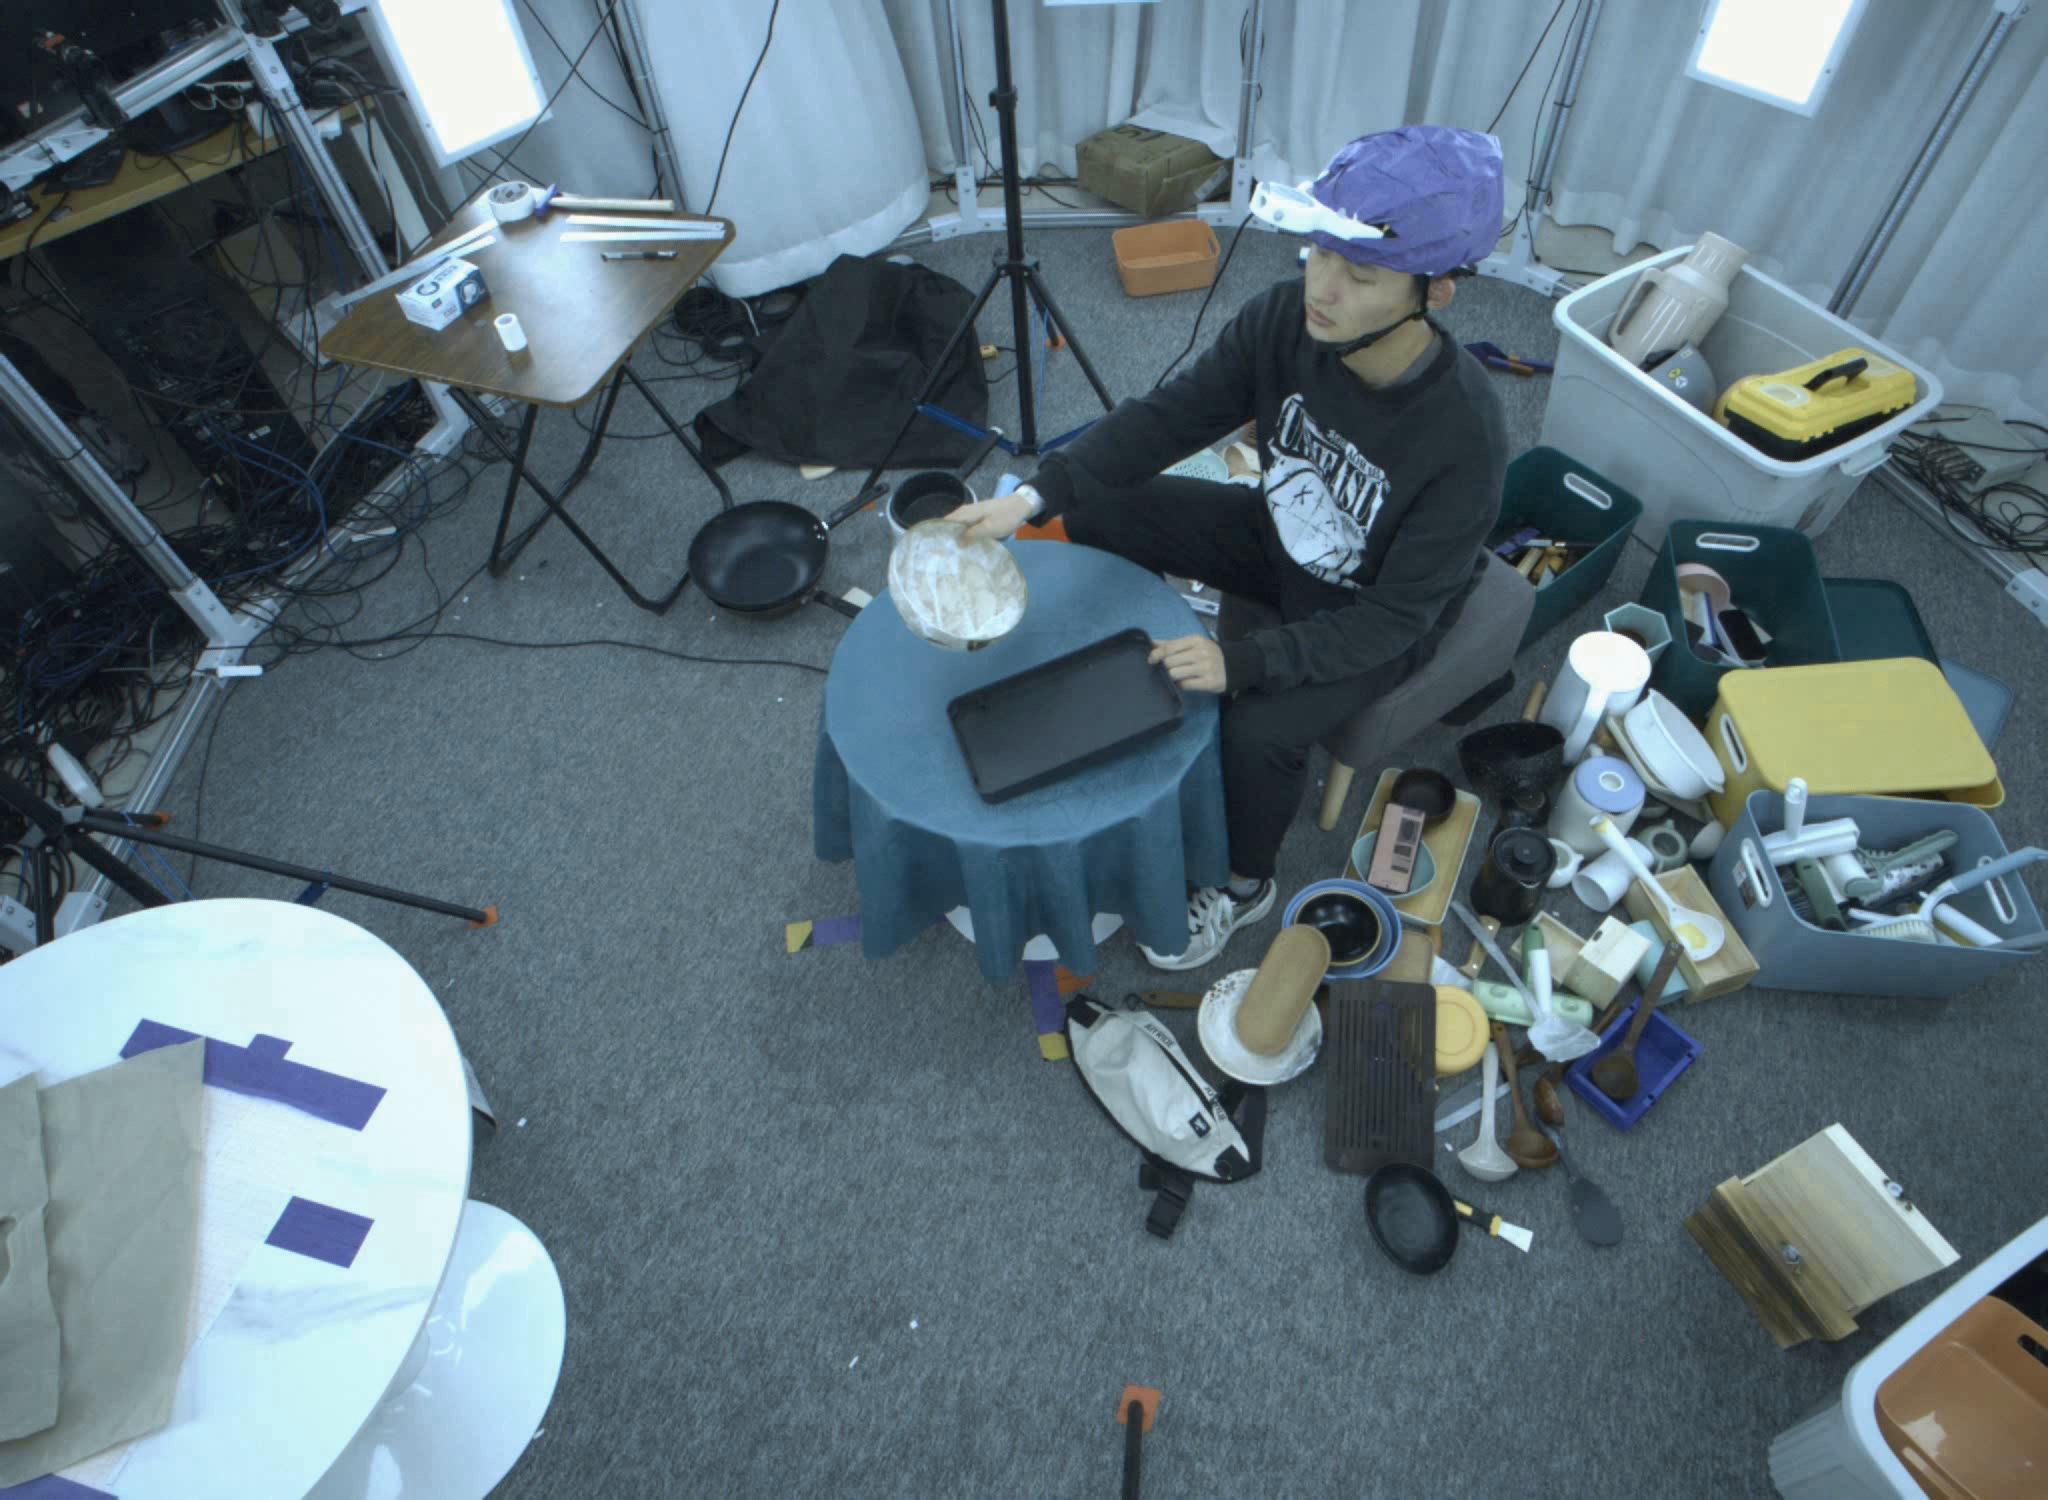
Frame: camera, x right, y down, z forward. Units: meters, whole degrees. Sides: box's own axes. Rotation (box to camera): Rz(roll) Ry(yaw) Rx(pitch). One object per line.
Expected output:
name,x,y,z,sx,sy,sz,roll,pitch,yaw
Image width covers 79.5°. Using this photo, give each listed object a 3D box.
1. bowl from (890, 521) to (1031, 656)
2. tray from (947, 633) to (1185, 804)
bowl,-0.099,-0.211,1.720,0.218,0.094,0.212,15,57,-22
tray,0.059,-0.048,1.775,0.318,0.037,0.181,-20,54,-3
